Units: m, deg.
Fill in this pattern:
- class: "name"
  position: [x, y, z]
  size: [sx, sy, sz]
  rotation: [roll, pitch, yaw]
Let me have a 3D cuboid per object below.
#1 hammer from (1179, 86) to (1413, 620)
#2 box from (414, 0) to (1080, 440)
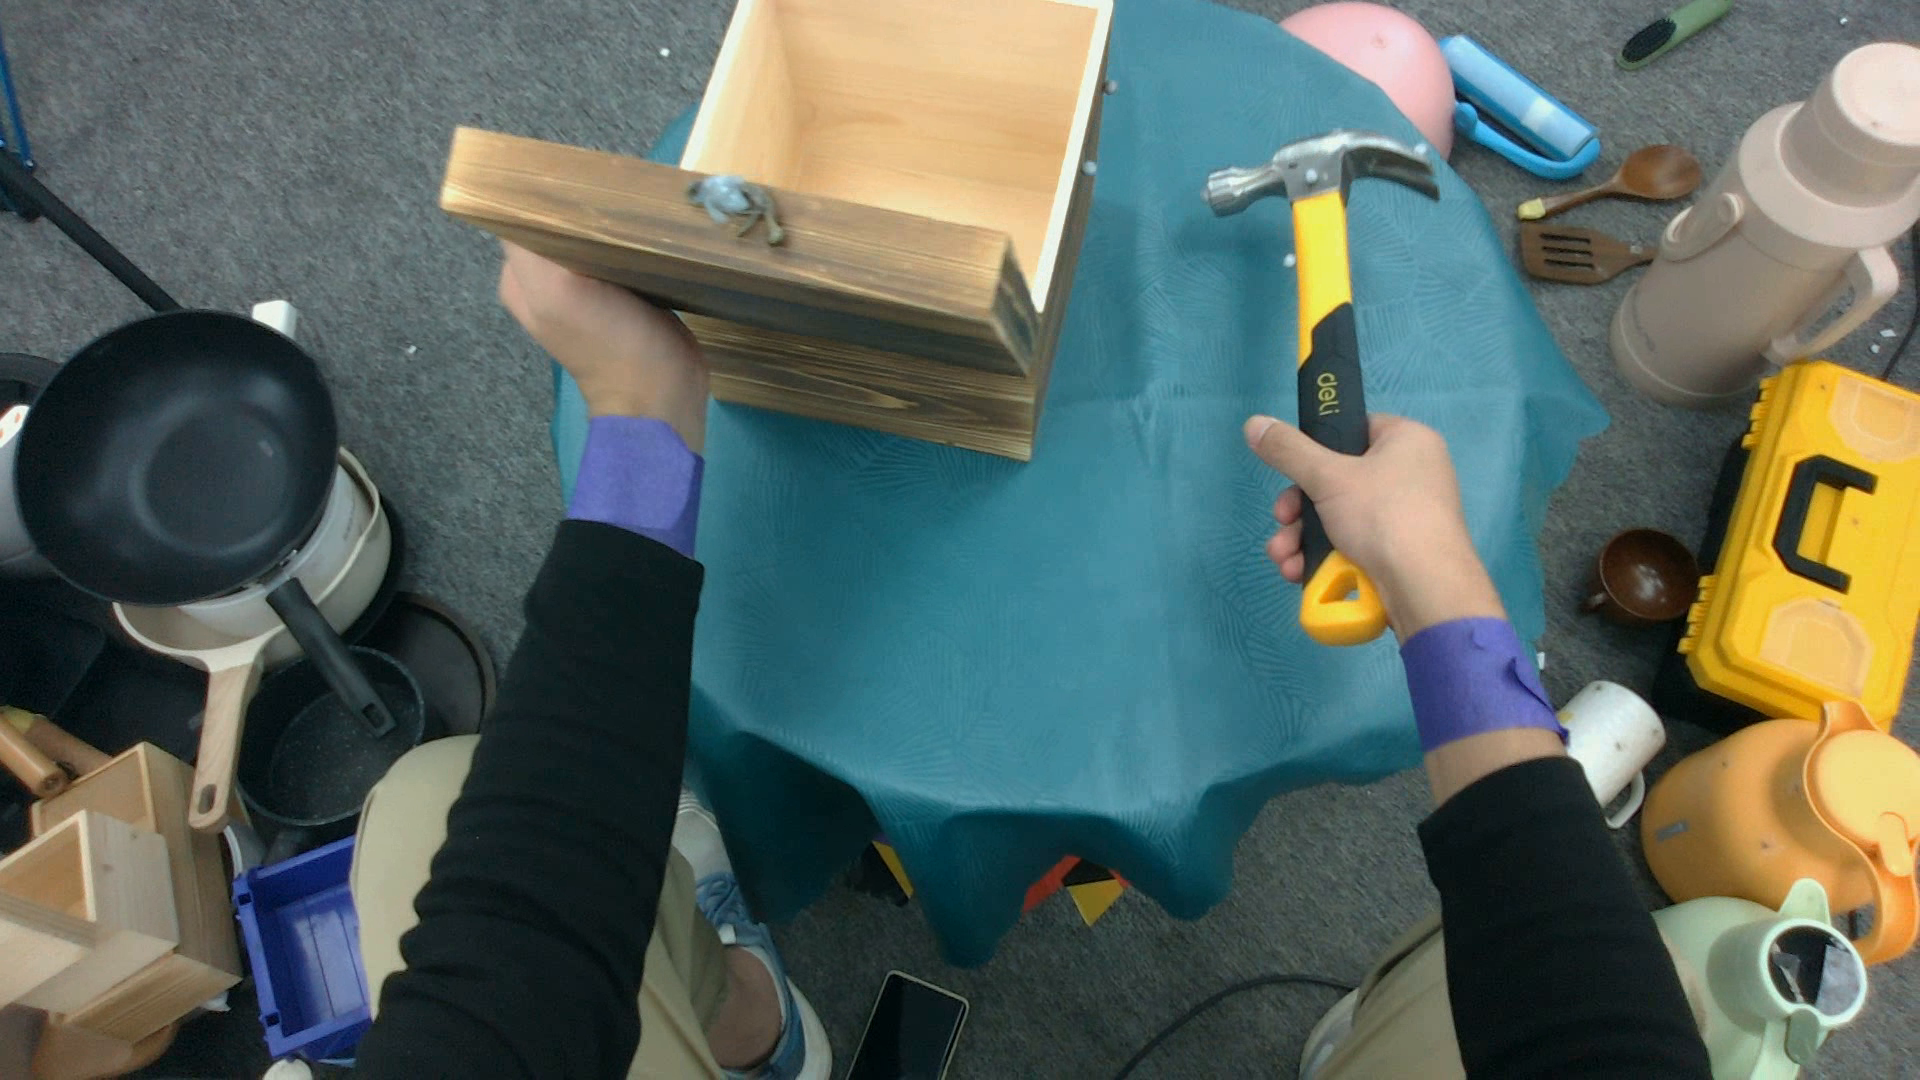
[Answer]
- class: "hammer"
  position: [0.184, -0.113, 0.741]
  size: [0.131, 0.032, 0.340]
  rotation: [-11, 57, 26]
- class: "box"
  position: [-0.065, -0.189, 0.687]
  size: [0.208, 0.374, 0.323]
  rotation: [13, 70, 5]
